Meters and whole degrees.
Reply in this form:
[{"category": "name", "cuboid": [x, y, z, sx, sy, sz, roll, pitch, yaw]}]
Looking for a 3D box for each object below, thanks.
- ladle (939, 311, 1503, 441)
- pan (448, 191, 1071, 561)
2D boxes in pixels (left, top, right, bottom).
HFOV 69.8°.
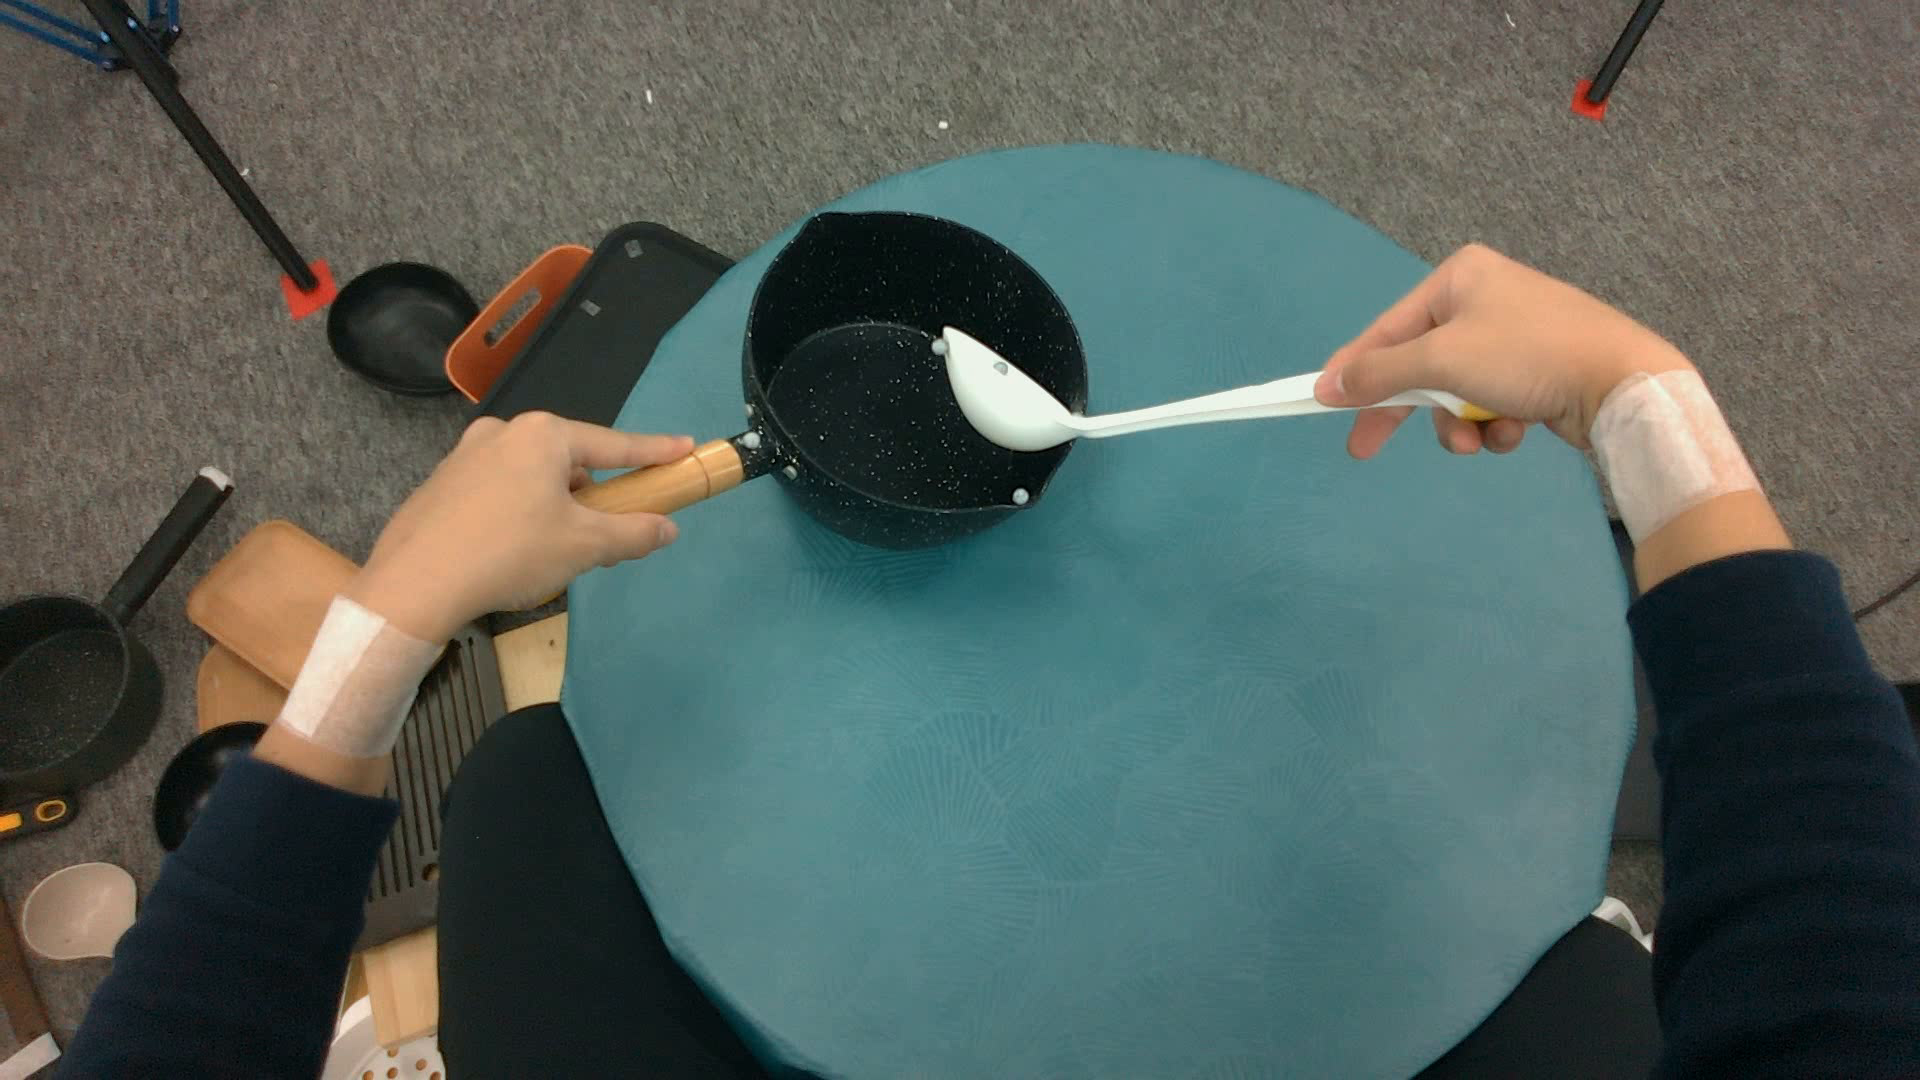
[{"category": "ladle", "cuboid": [0.113, -0.088, 0.671, 0.292, 0.090, 0.070, -2, 67, 37]}, {"category": "pan", "cuboid": [-0.097, -0.056, 0.704, 0.344, 0.107, 0.207, -32, 79, -29]}]
